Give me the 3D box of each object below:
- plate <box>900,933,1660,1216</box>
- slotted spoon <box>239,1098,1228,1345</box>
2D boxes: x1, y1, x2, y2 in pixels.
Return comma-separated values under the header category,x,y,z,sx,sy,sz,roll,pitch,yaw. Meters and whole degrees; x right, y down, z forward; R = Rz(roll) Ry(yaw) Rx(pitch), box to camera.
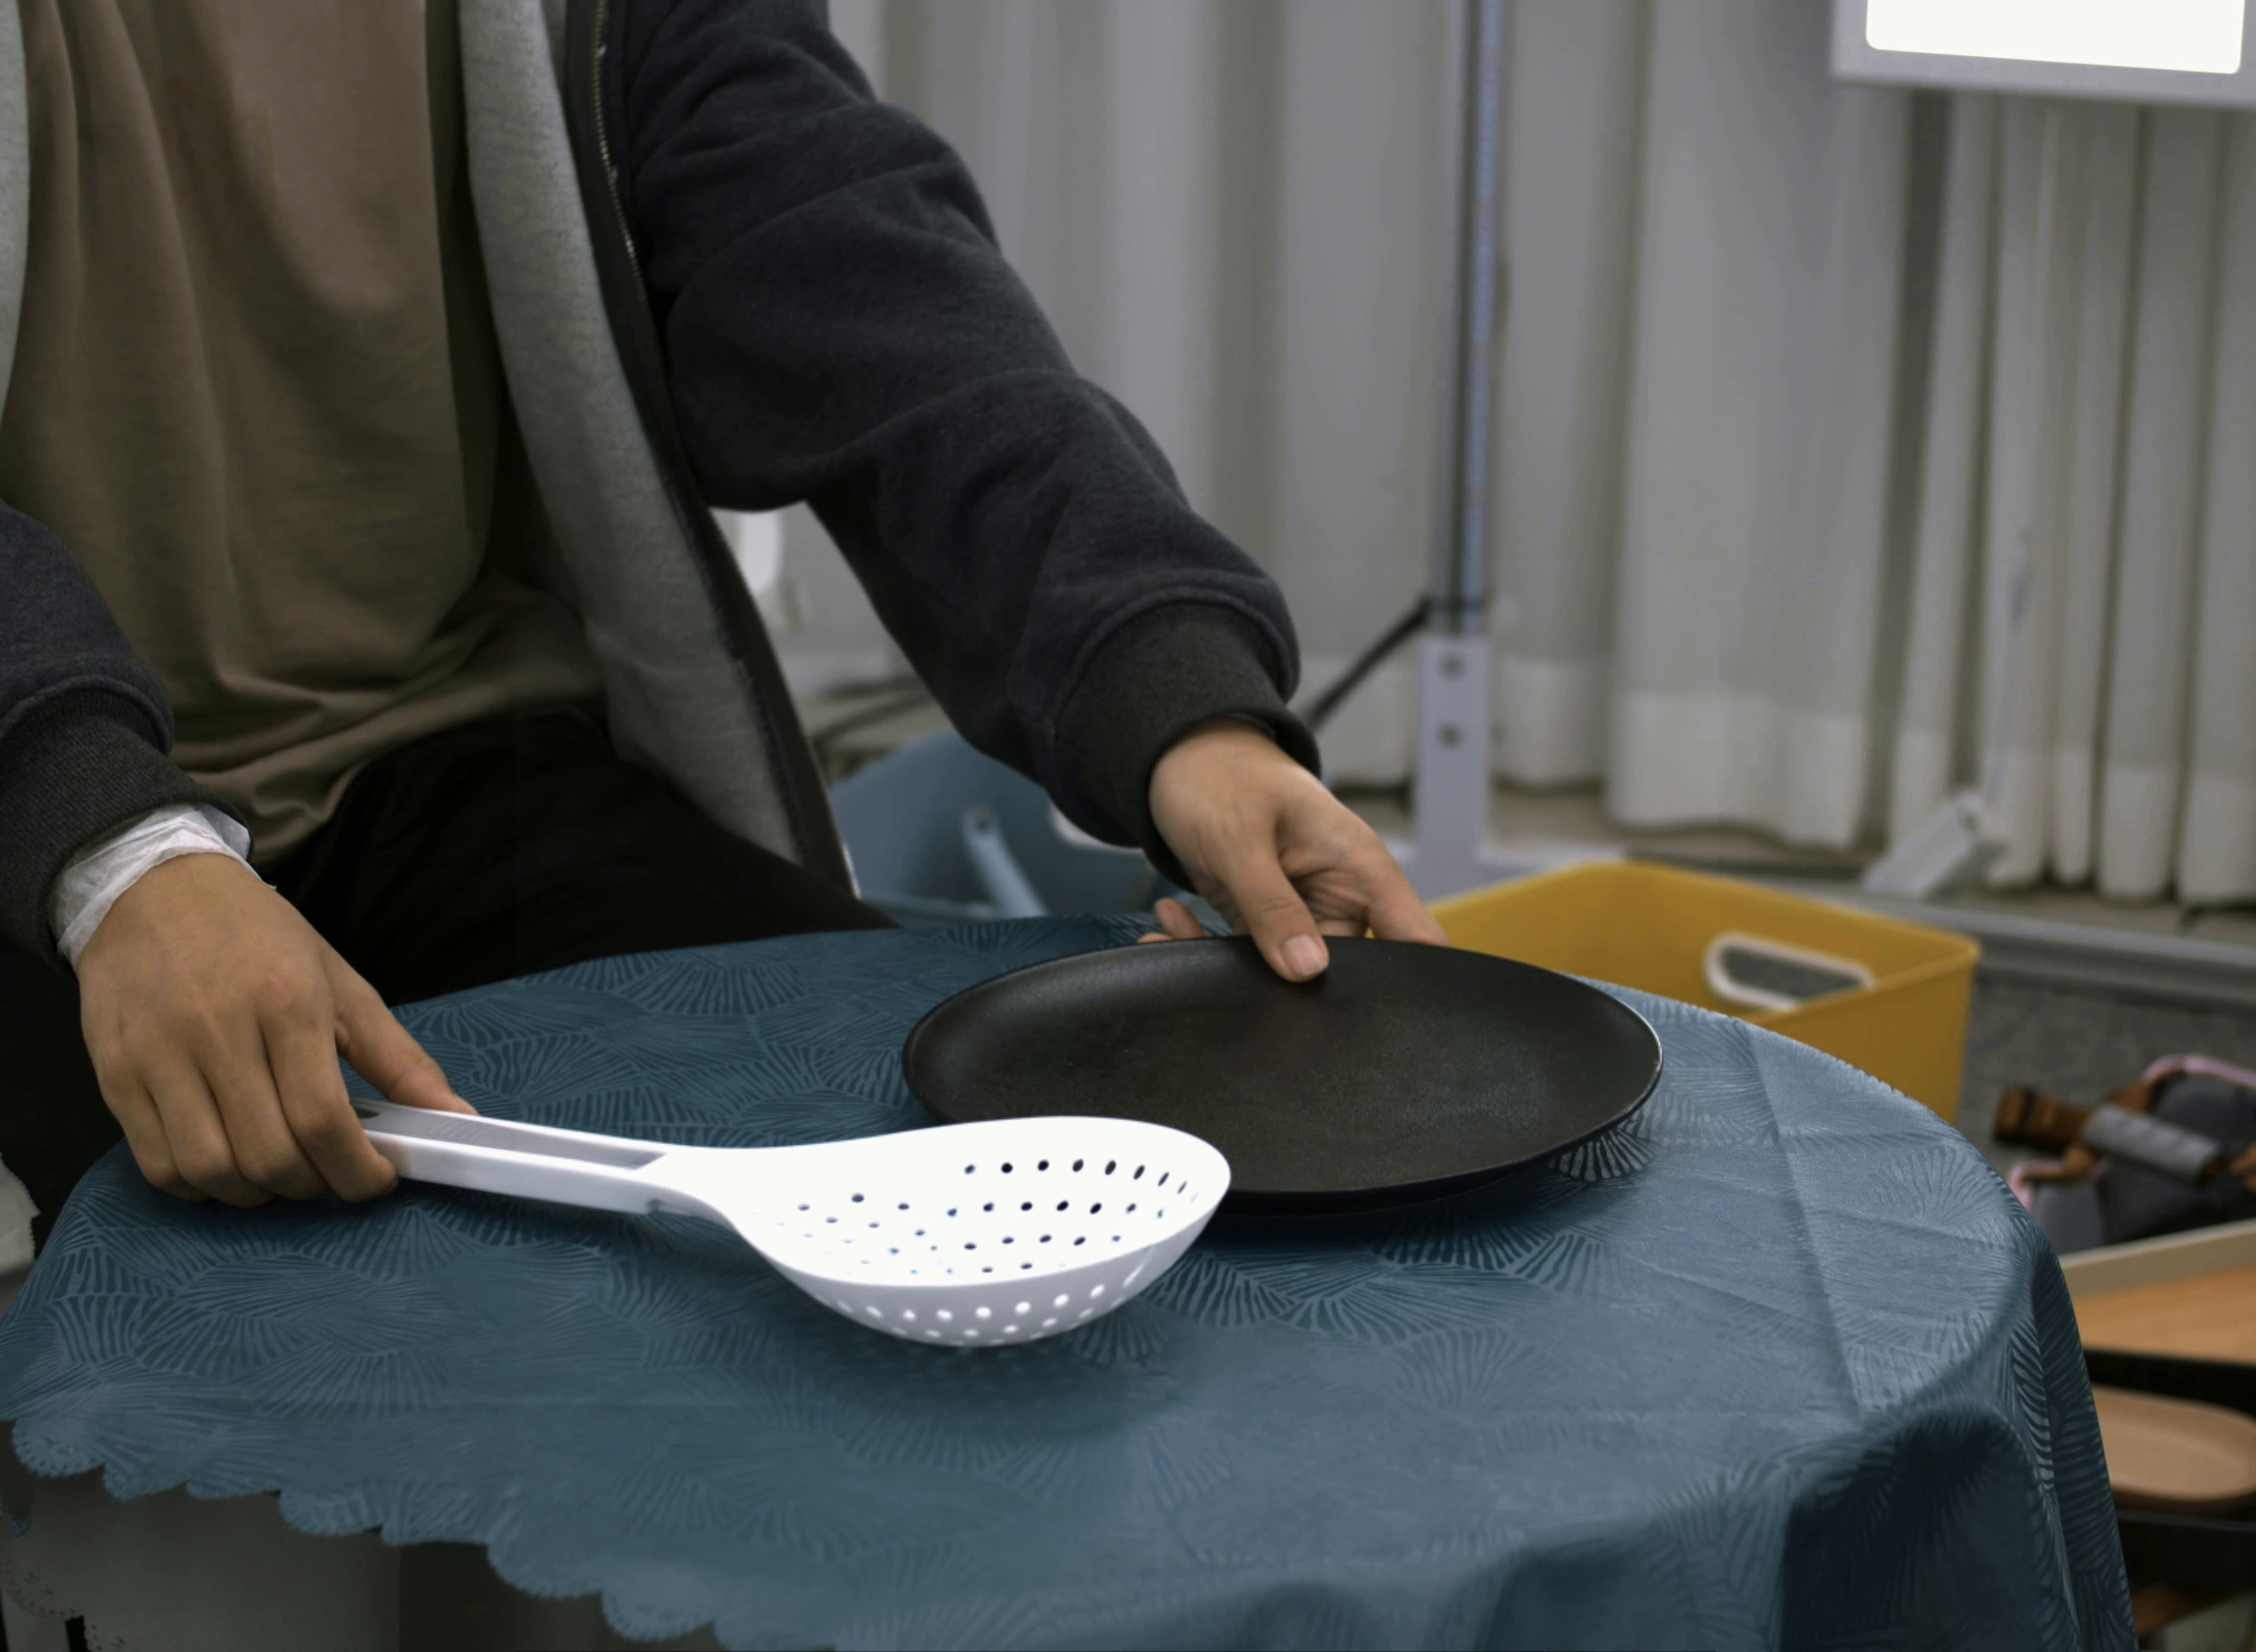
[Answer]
category,x,y,z,sx,sy,sz,roll,pitch,yaw
plate,0.048,0.082,1.681,0.243,0.023,0.243,0,17,1
slotted spoon,-0.128,0.106,1.555,0.345,0.046,0.136,10,20,32
